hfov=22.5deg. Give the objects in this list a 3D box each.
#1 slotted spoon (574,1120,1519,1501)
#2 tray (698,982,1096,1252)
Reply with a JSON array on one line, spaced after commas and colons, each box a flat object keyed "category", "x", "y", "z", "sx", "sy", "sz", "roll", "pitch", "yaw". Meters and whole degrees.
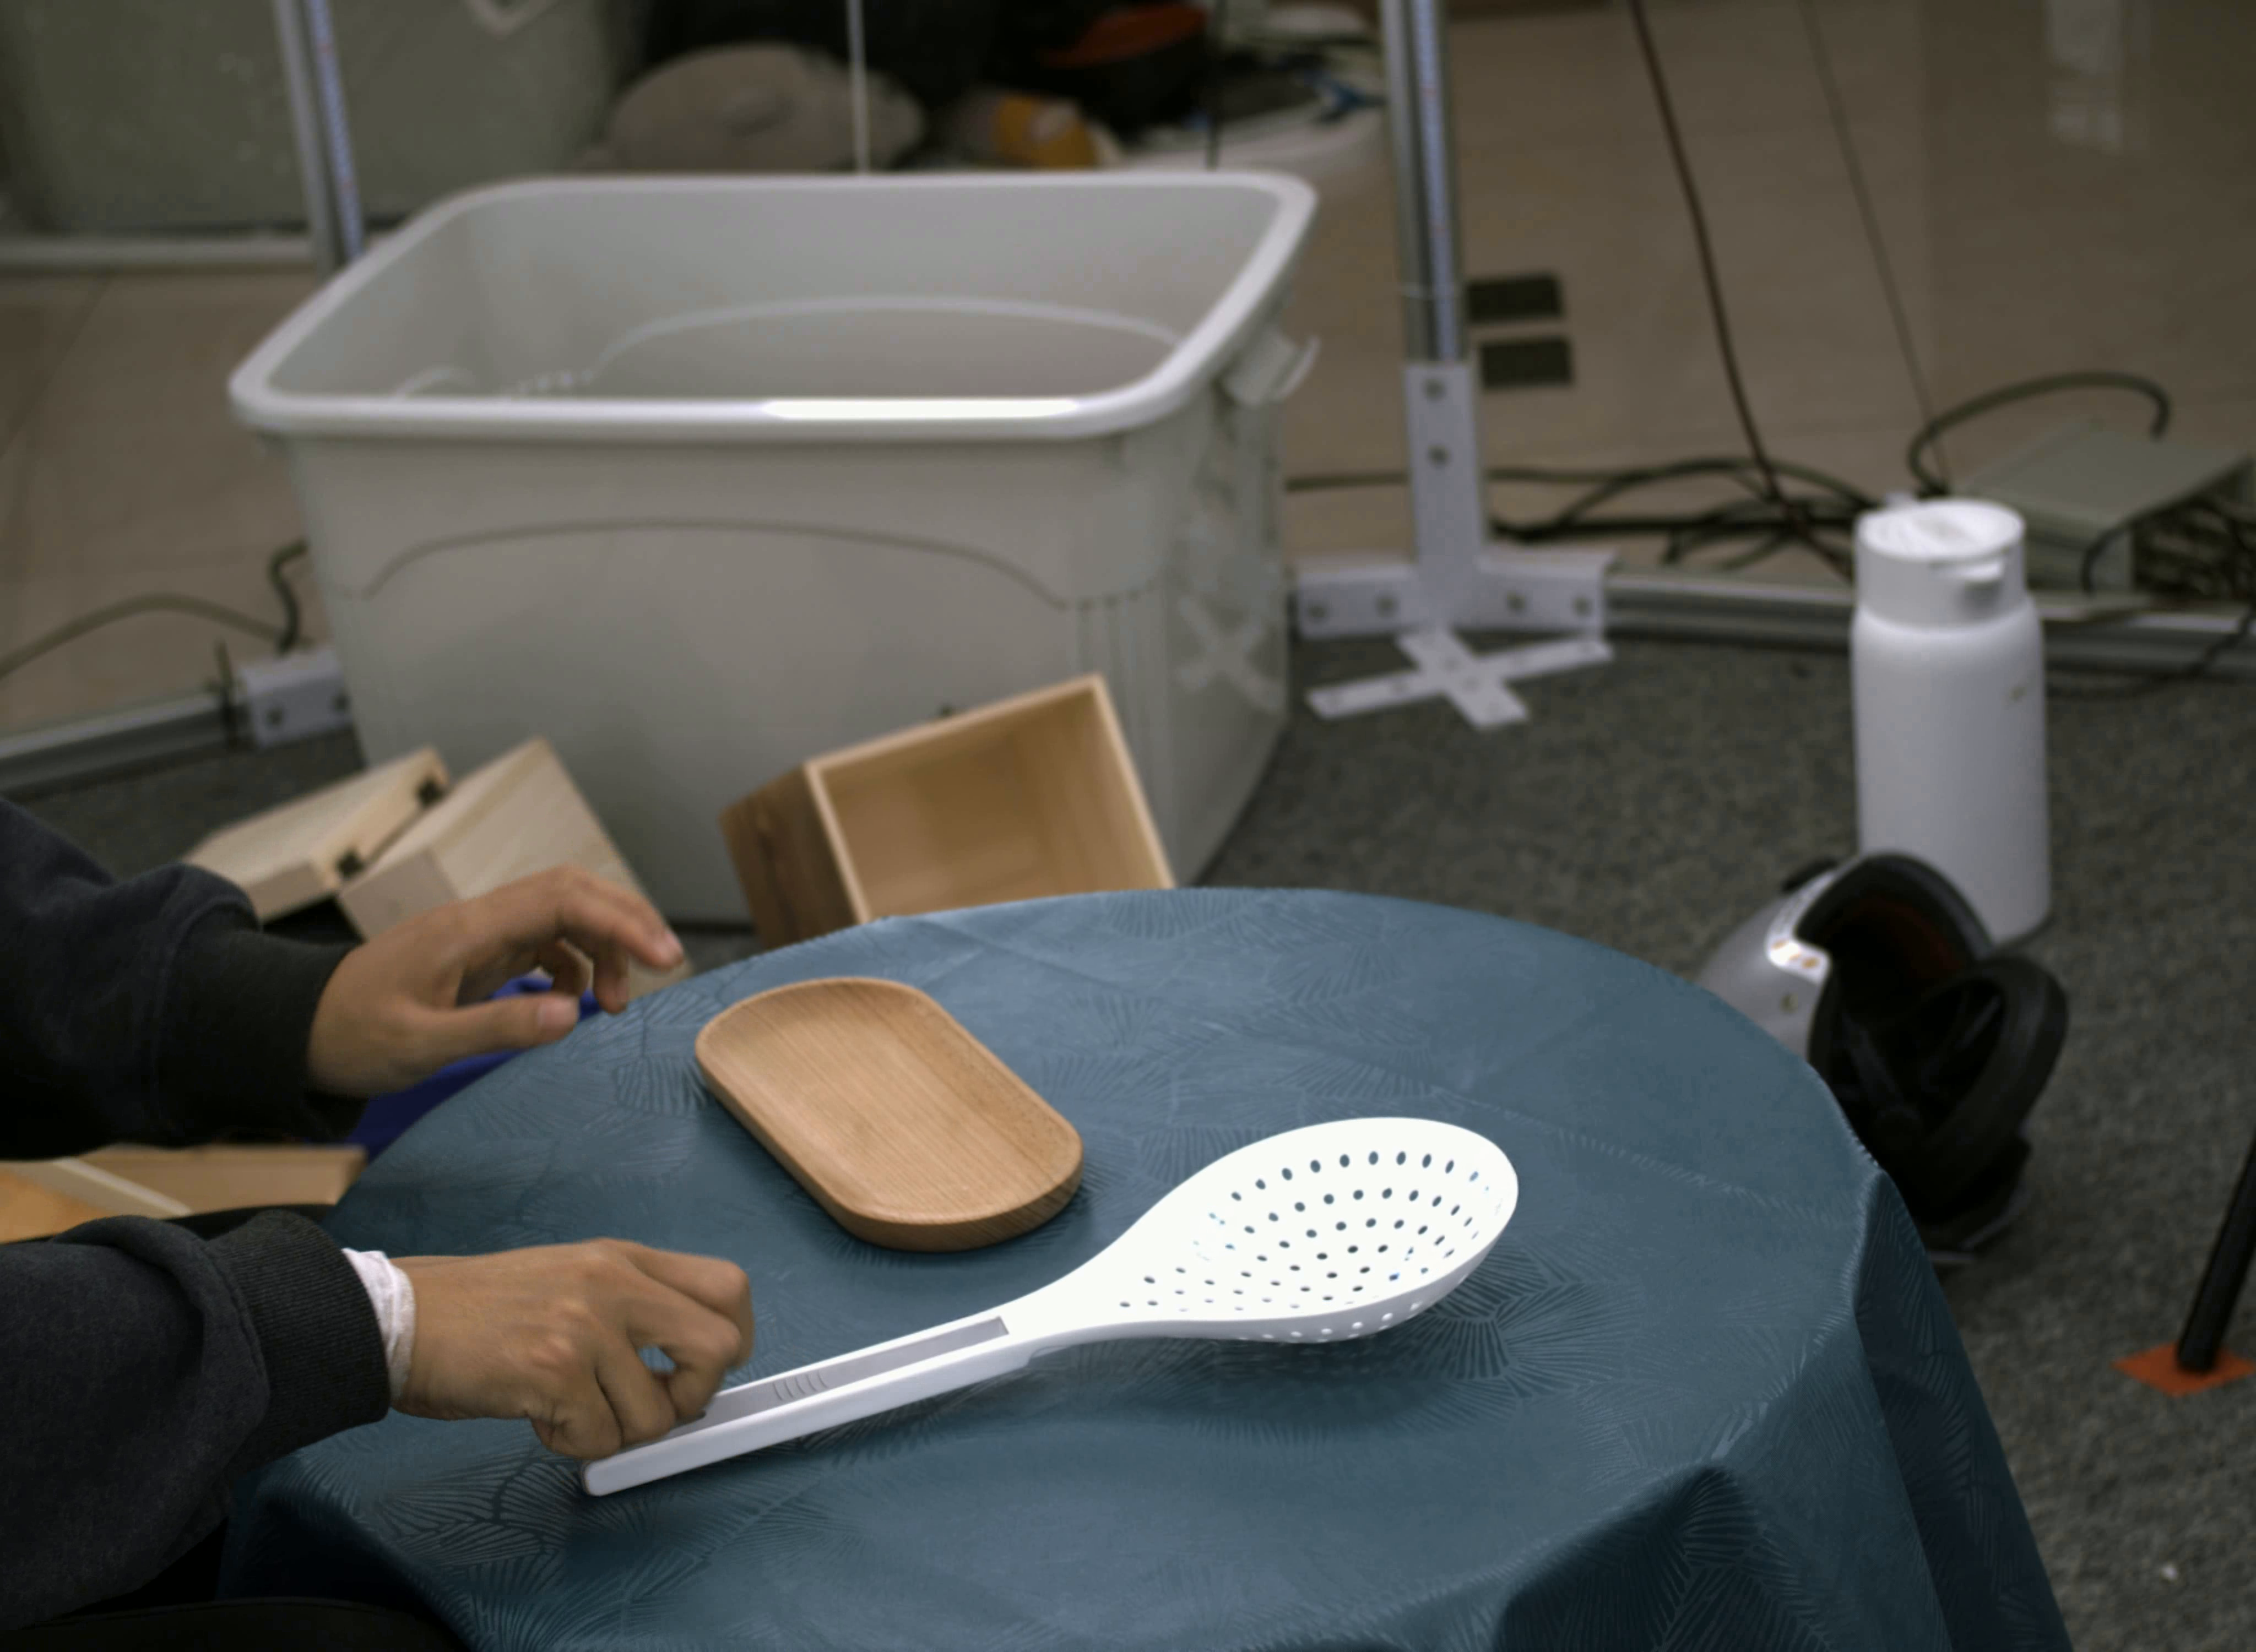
[{"category": "slotted spoon", "x": -0.027, "y": 0.177, "z": 2.017, "sx": 0.349, "sy": 0.046, "sz": 0.134, "roll": -13, "pitch": 24, "yaw": -11}, {"category": "tray", "x": -0.091, "y": 0.112, "z": 2.209, "sx": 0.101, "sy": 0.020, "sz": 0.228, "roll": -18, "pitch": 28, "yaw": -21}]
